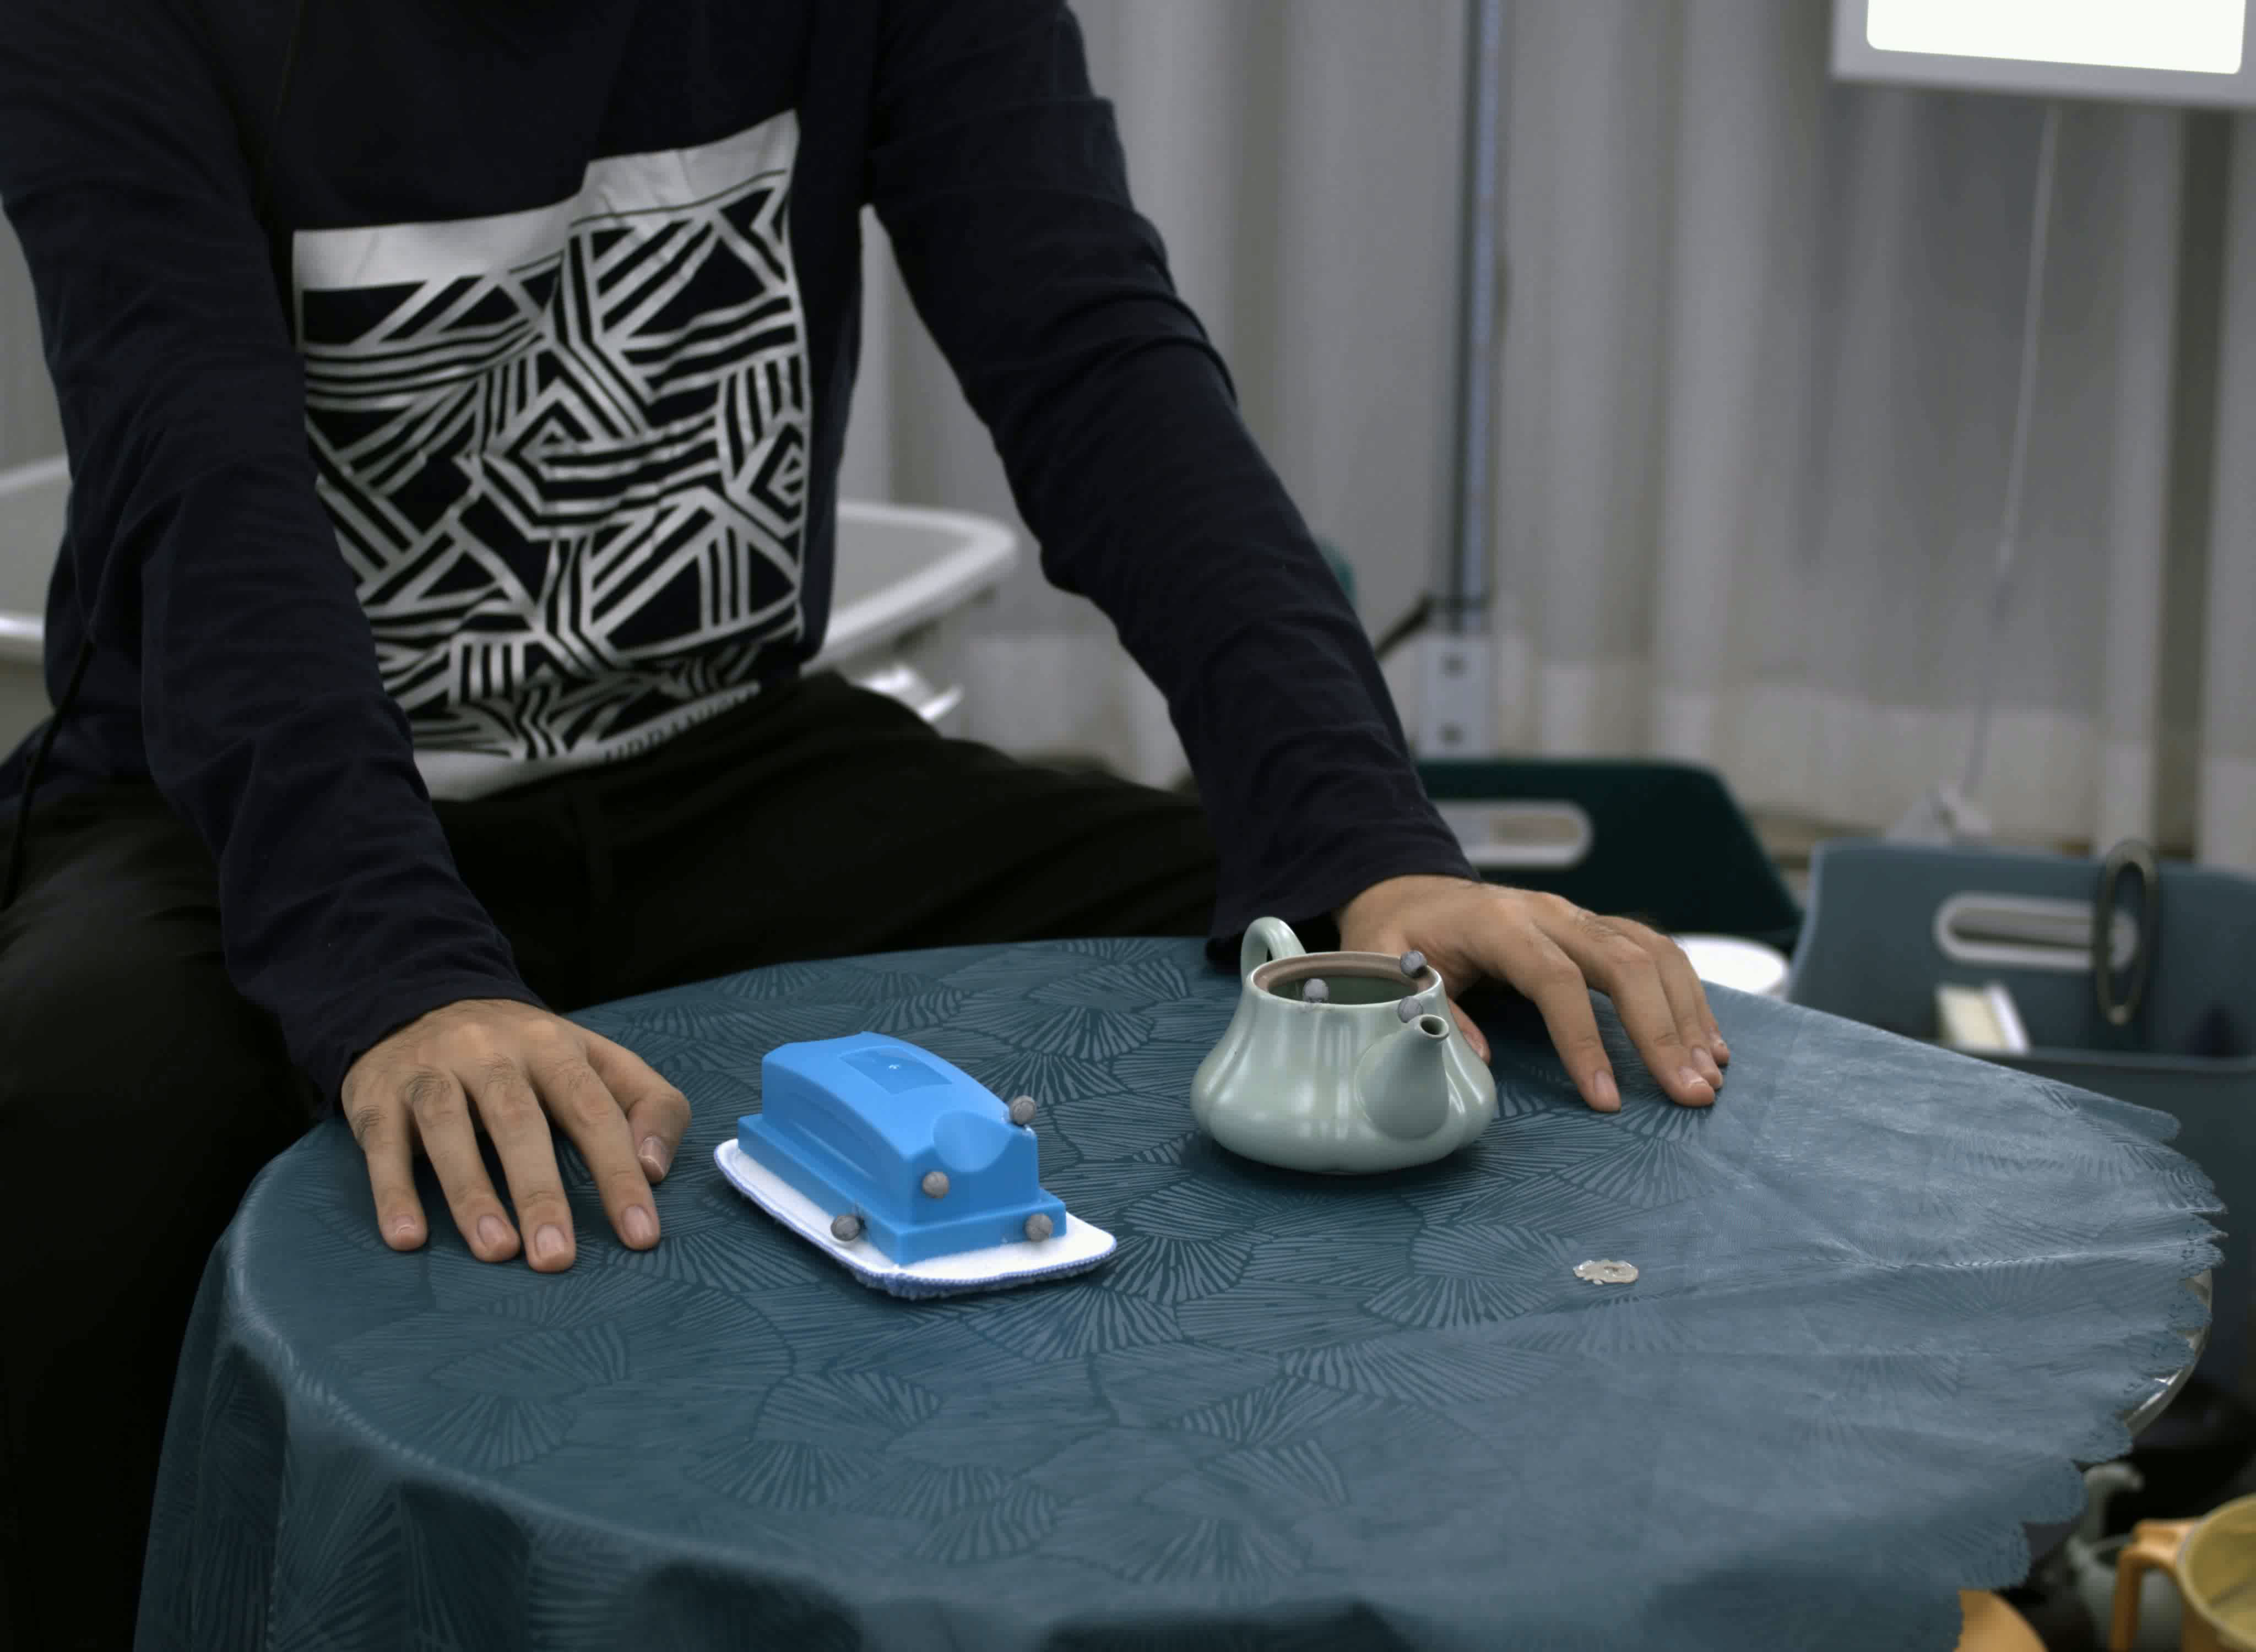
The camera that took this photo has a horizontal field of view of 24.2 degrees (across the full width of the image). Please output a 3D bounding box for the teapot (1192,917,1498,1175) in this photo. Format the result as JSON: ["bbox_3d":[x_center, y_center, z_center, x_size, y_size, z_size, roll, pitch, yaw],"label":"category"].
[{"bbox_3d":[0.066,0.072,1.662,0.096,0.062,0.135,-9,19,-24],"label":"teapot"}]

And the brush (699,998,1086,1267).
[{"bbox_3d":[-0.070,0.090,1.590,0.084,0.056,0.142,-4,18,-25],"label":"brush"}]
